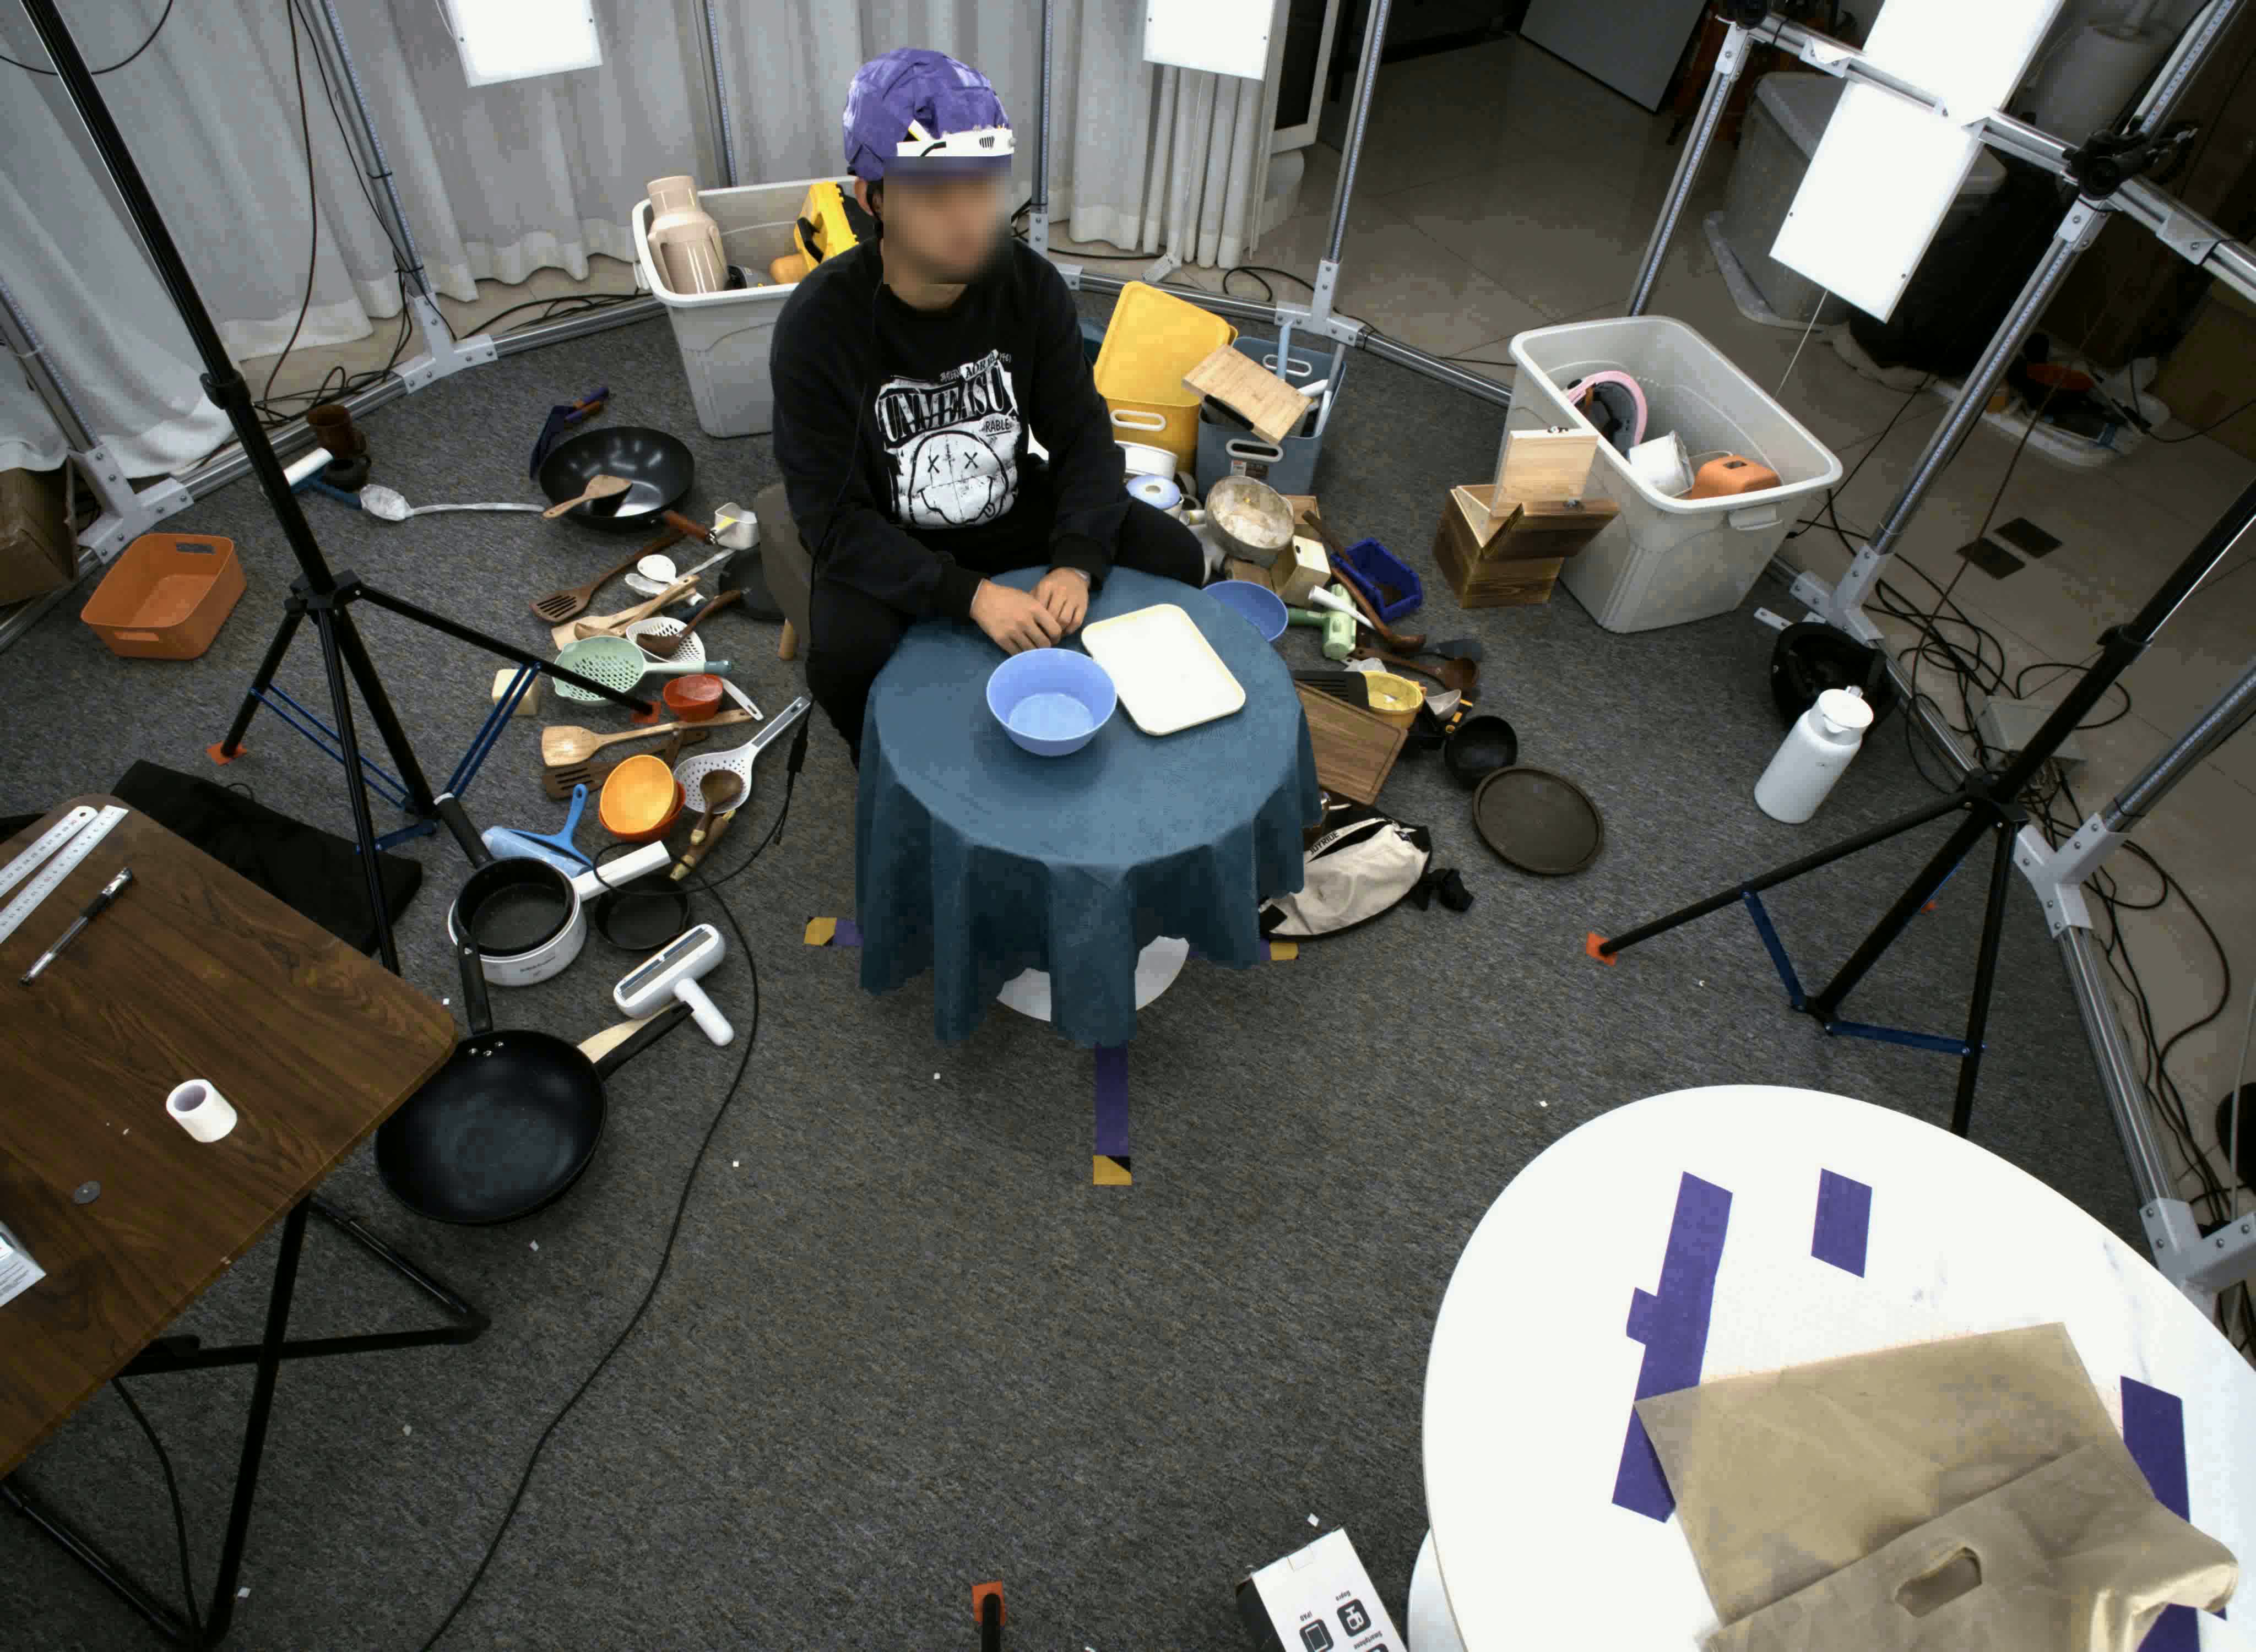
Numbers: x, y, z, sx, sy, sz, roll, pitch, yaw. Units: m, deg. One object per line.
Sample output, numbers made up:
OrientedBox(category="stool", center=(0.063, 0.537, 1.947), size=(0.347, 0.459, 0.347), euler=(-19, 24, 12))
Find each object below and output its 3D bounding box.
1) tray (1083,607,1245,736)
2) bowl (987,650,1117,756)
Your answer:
OrientedBox(category="tray", center=(0.050, -0.227, 1.874), size=(0.171, 0.017, 0.245), euler=(-18, 52, -19))
OrientedBox(category="bowl", center=(-0.105, -0.161, 1.771), size=(0.176, 0.068, 0.180), euler=(2, 49, -3))
